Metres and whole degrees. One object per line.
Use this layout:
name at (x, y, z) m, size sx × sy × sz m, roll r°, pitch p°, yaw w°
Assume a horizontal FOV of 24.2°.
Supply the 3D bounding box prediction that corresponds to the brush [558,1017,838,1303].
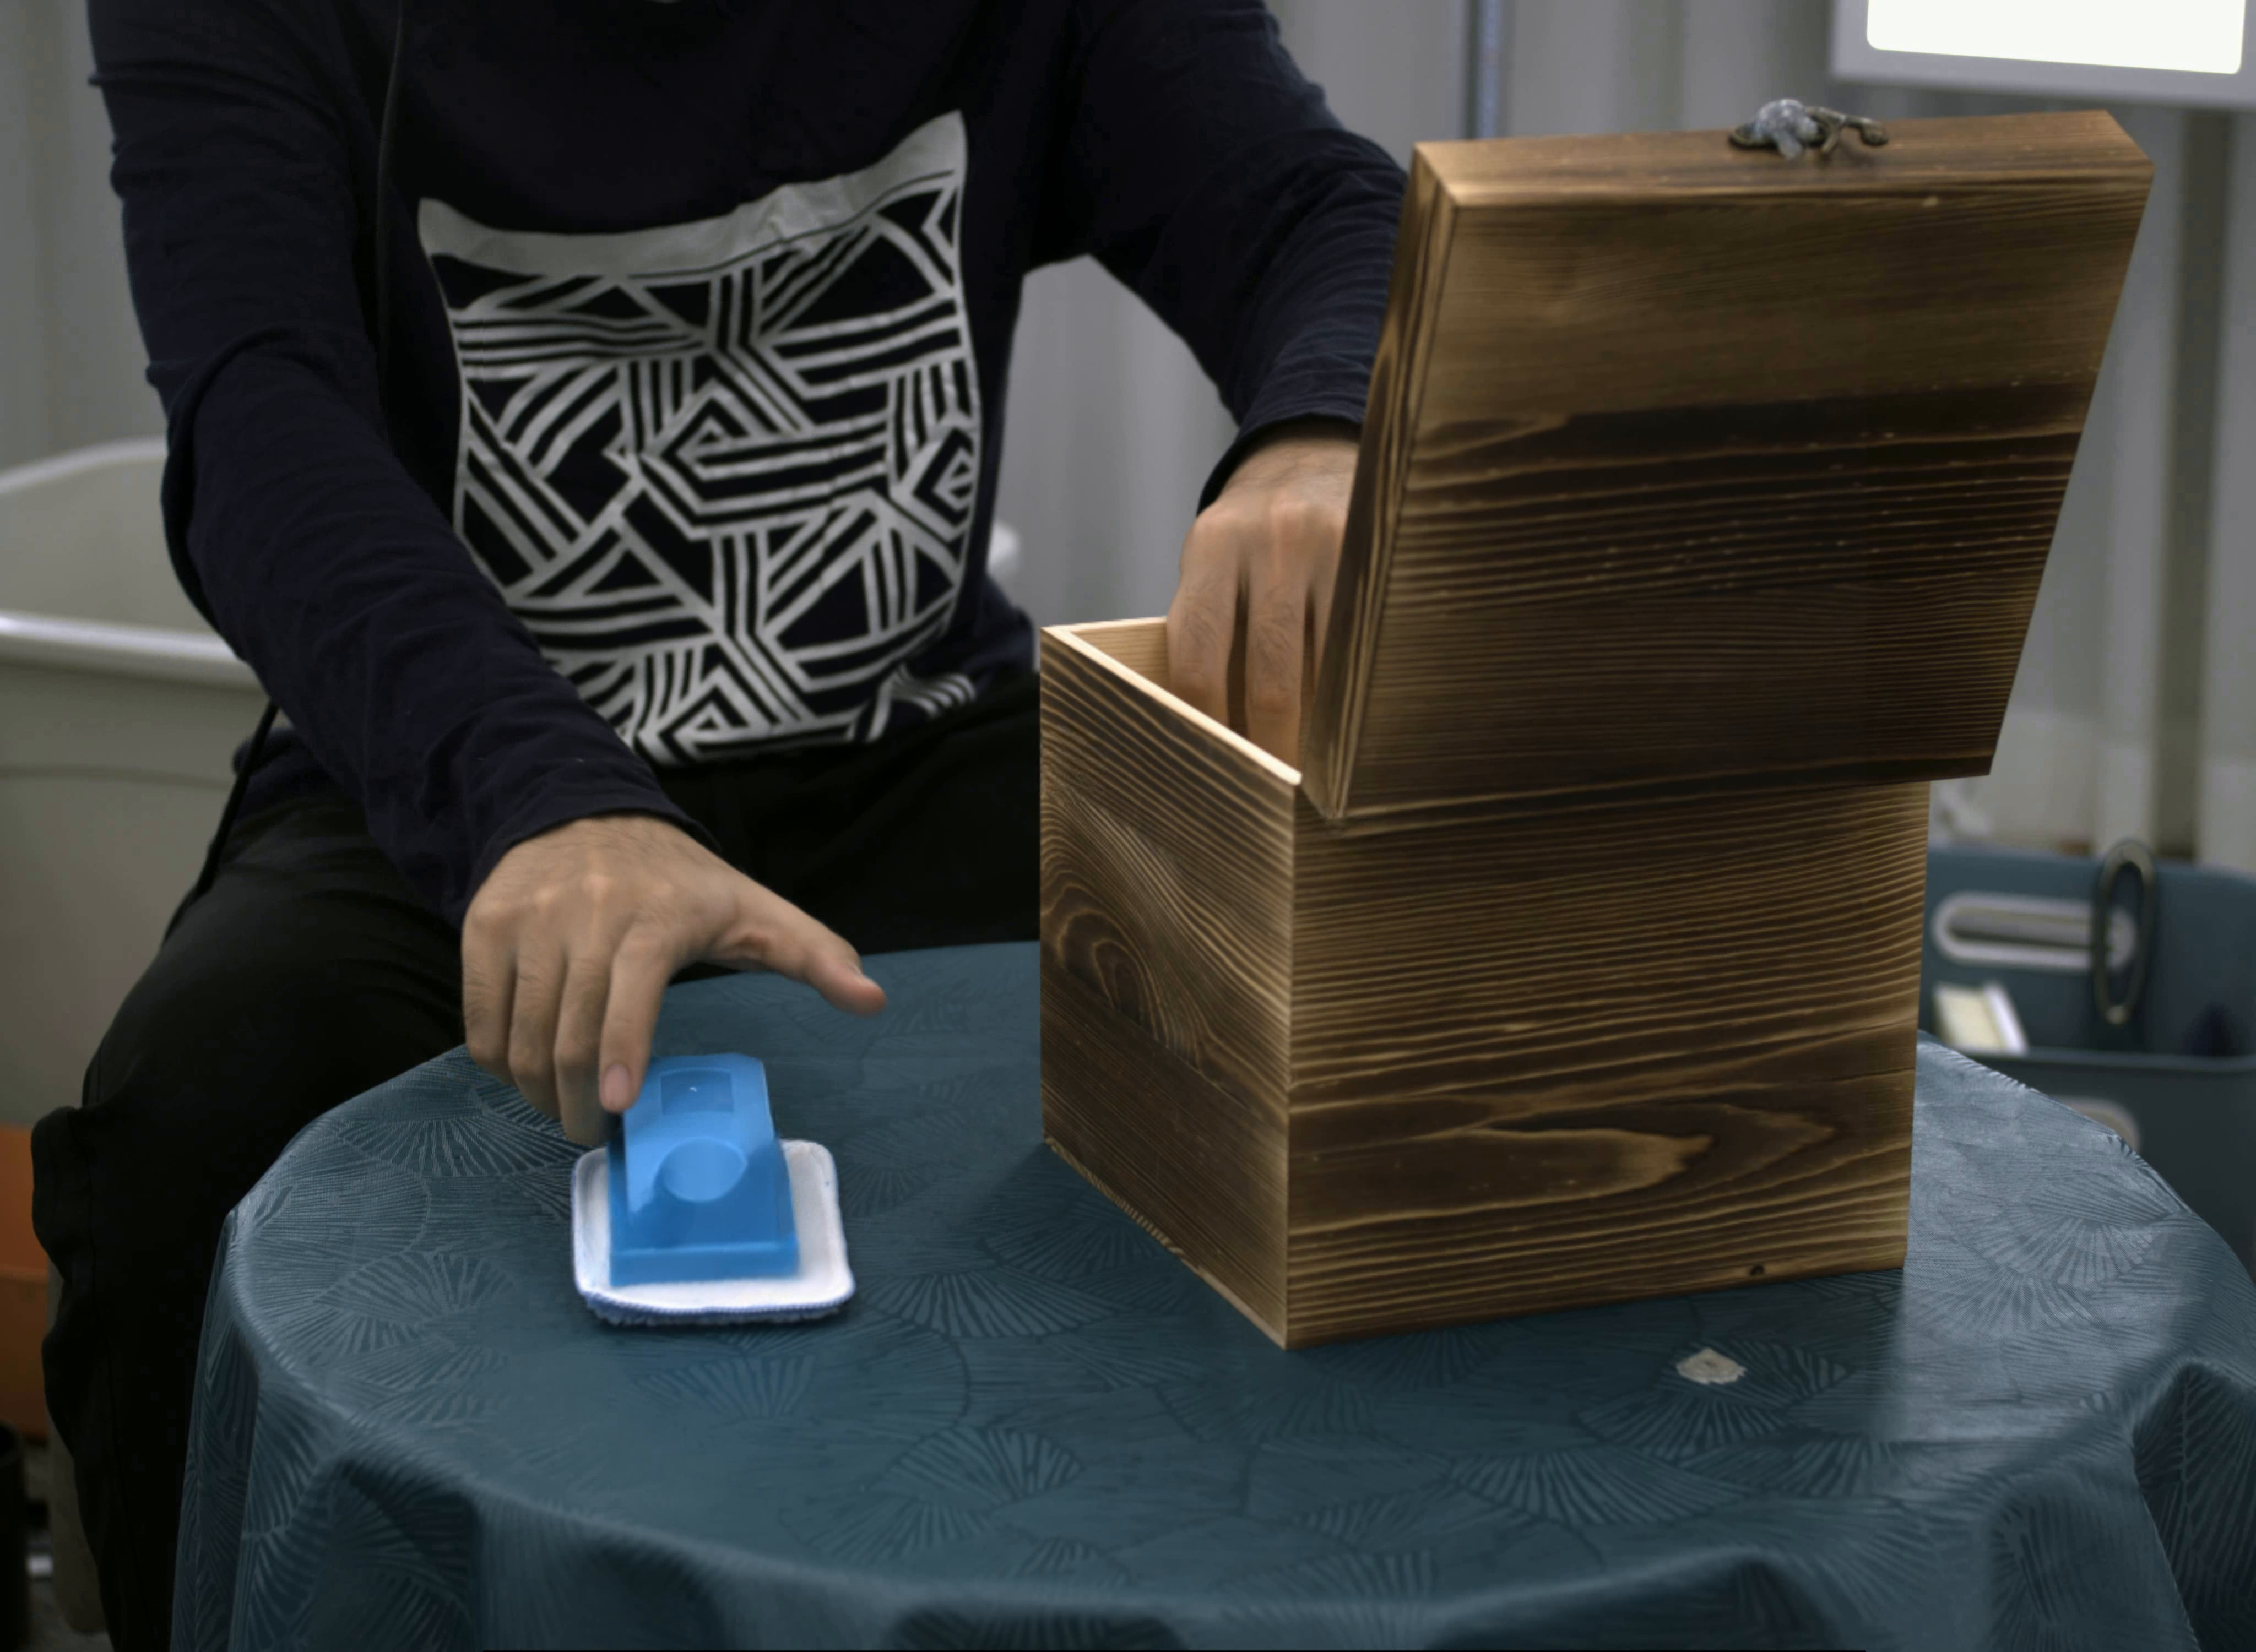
brush at (-0.127, 0.096, 1.567) m, size 0.084 × 0.056 × 0.143 m, roll 2°, pitch 17°, yaw -5°

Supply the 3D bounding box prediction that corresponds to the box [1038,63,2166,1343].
box at (0.123, -0.047, 1.524) m, size 0.209 × 0.378 × 0.318 m, roll -6°, pitch 17°, yaw -21°
